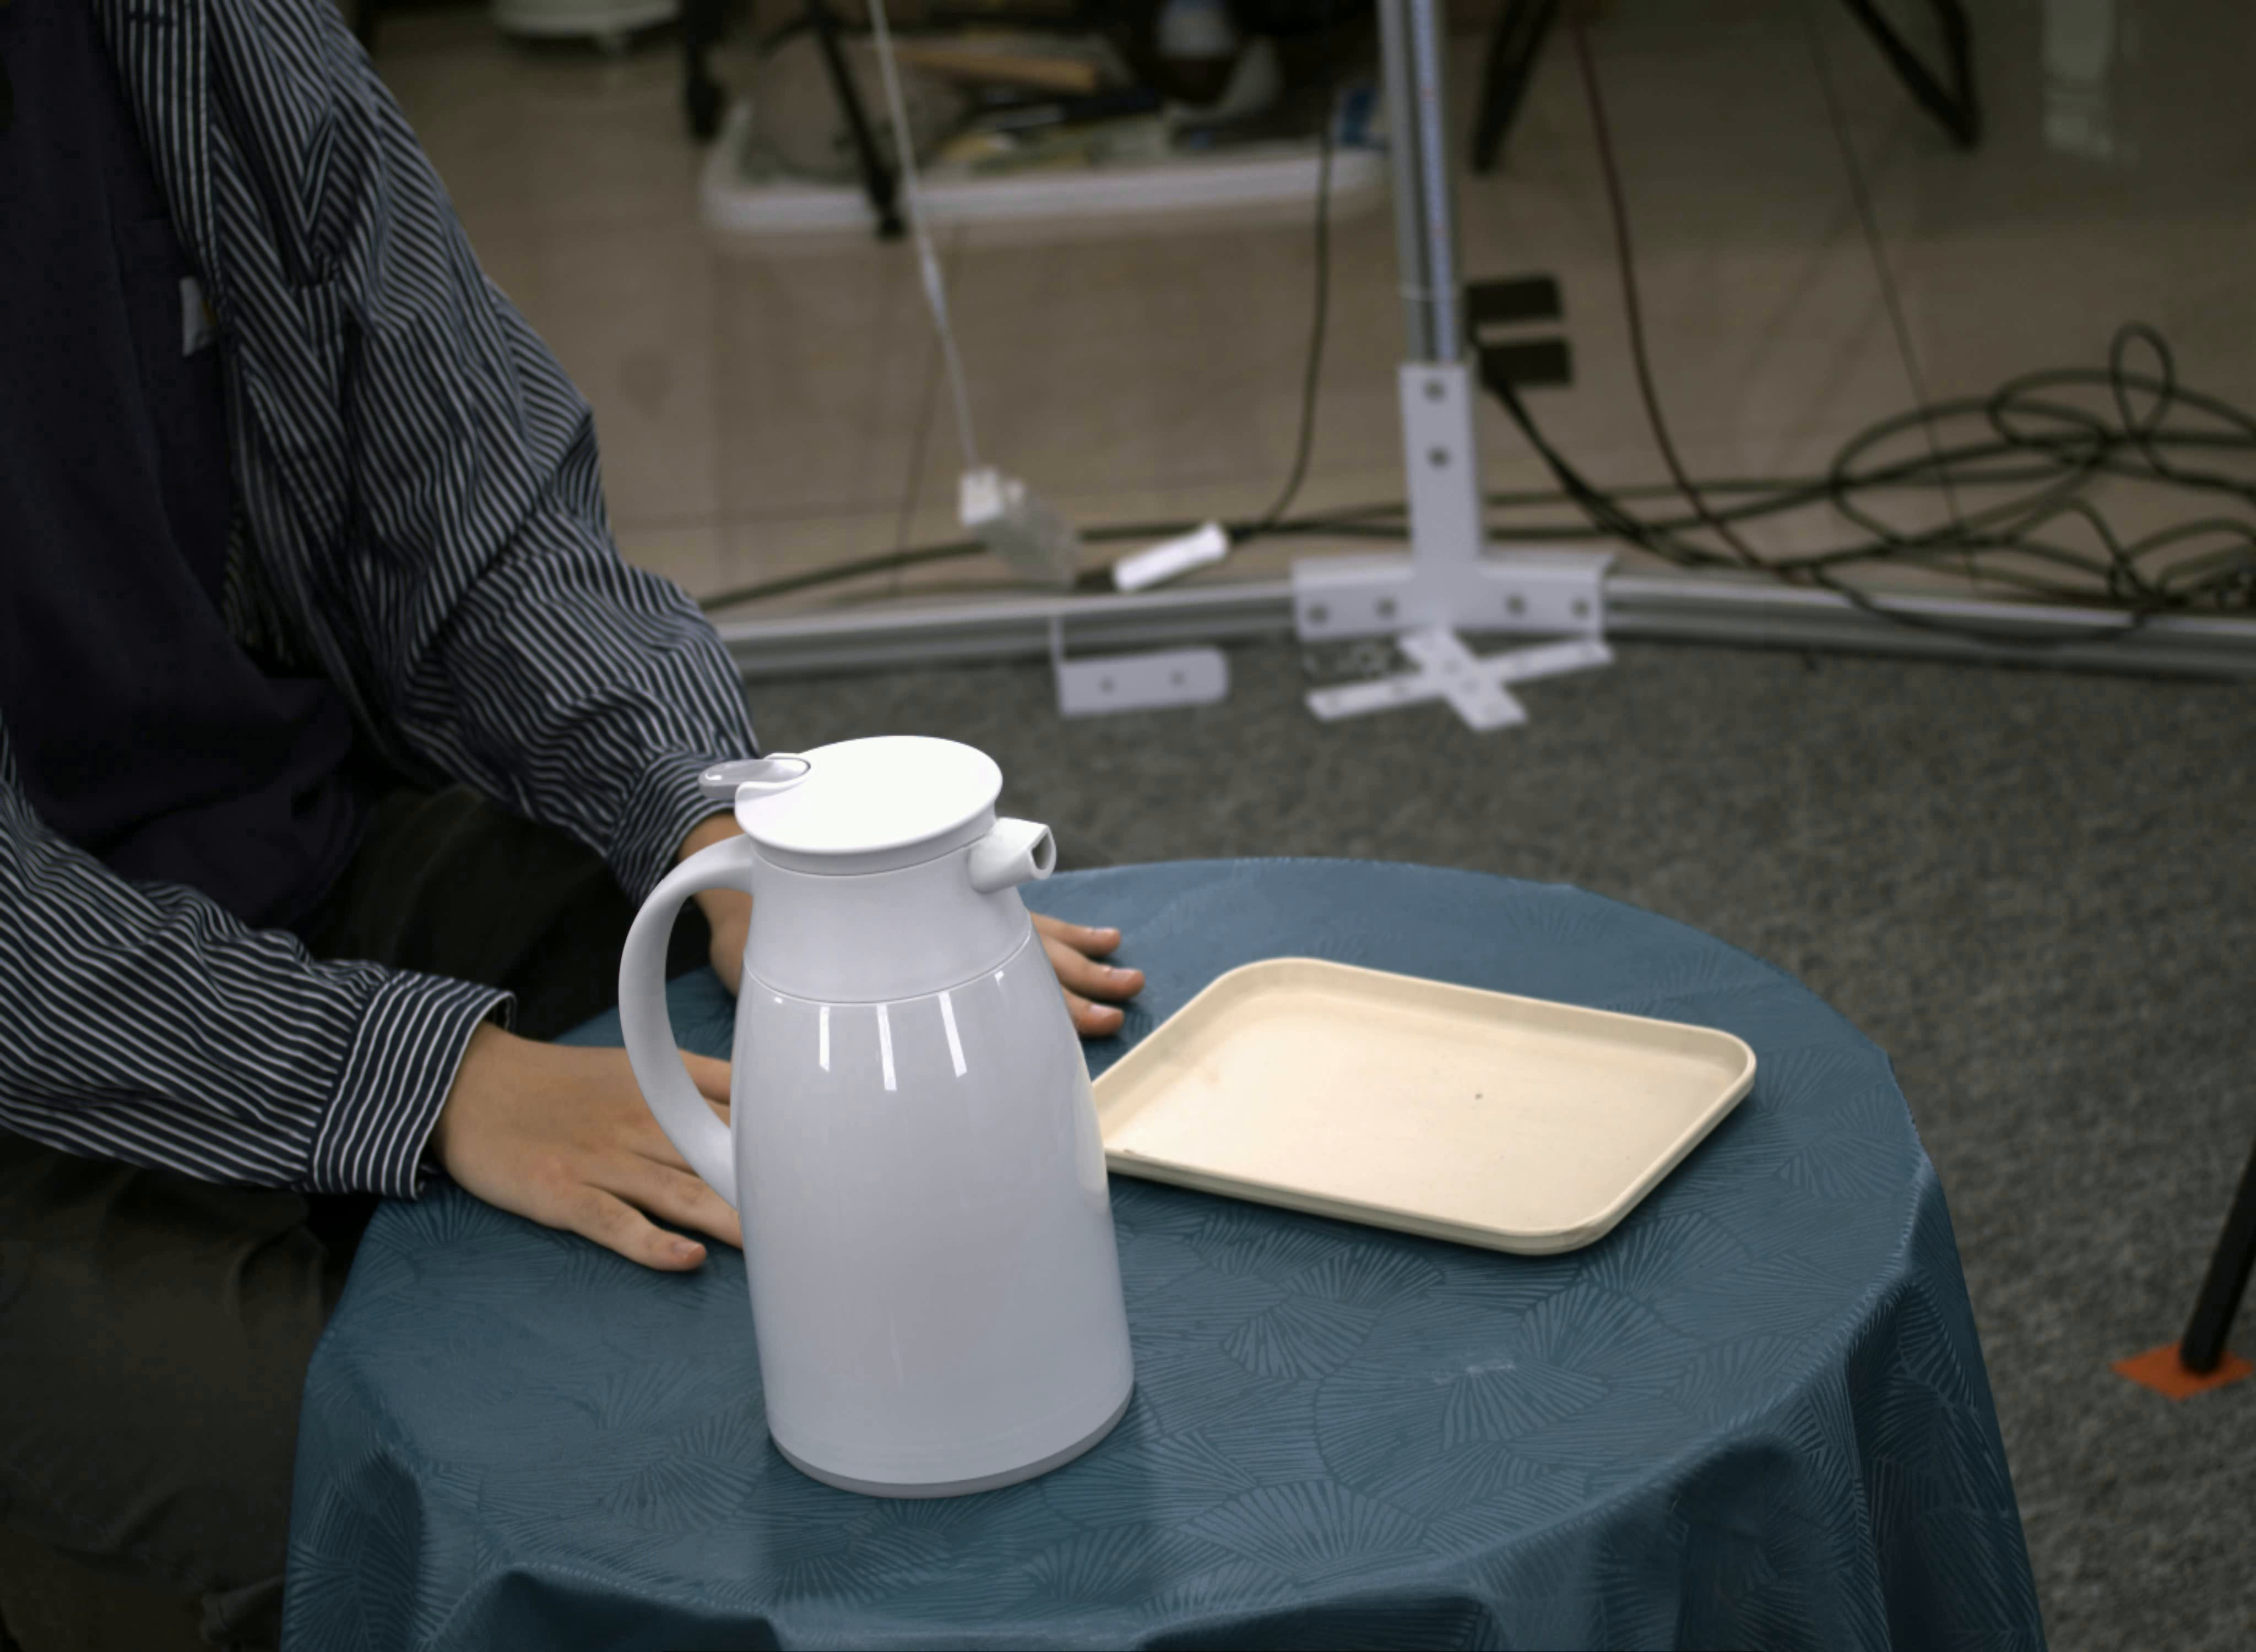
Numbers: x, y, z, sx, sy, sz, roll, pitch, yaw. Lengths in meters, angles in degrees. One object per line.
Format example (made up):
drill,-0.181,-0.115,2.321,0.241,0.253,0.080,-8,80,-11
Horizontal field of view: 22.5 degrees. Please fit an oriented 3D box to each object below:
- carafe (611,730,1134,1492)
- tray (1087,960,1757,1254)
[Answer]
carafe,-0.095,0.092,1.974,0.167,0.253,0.130,1,28,17
tray,0.107,0.107,2.172,0.238,0.018,0.169,9,29,31
